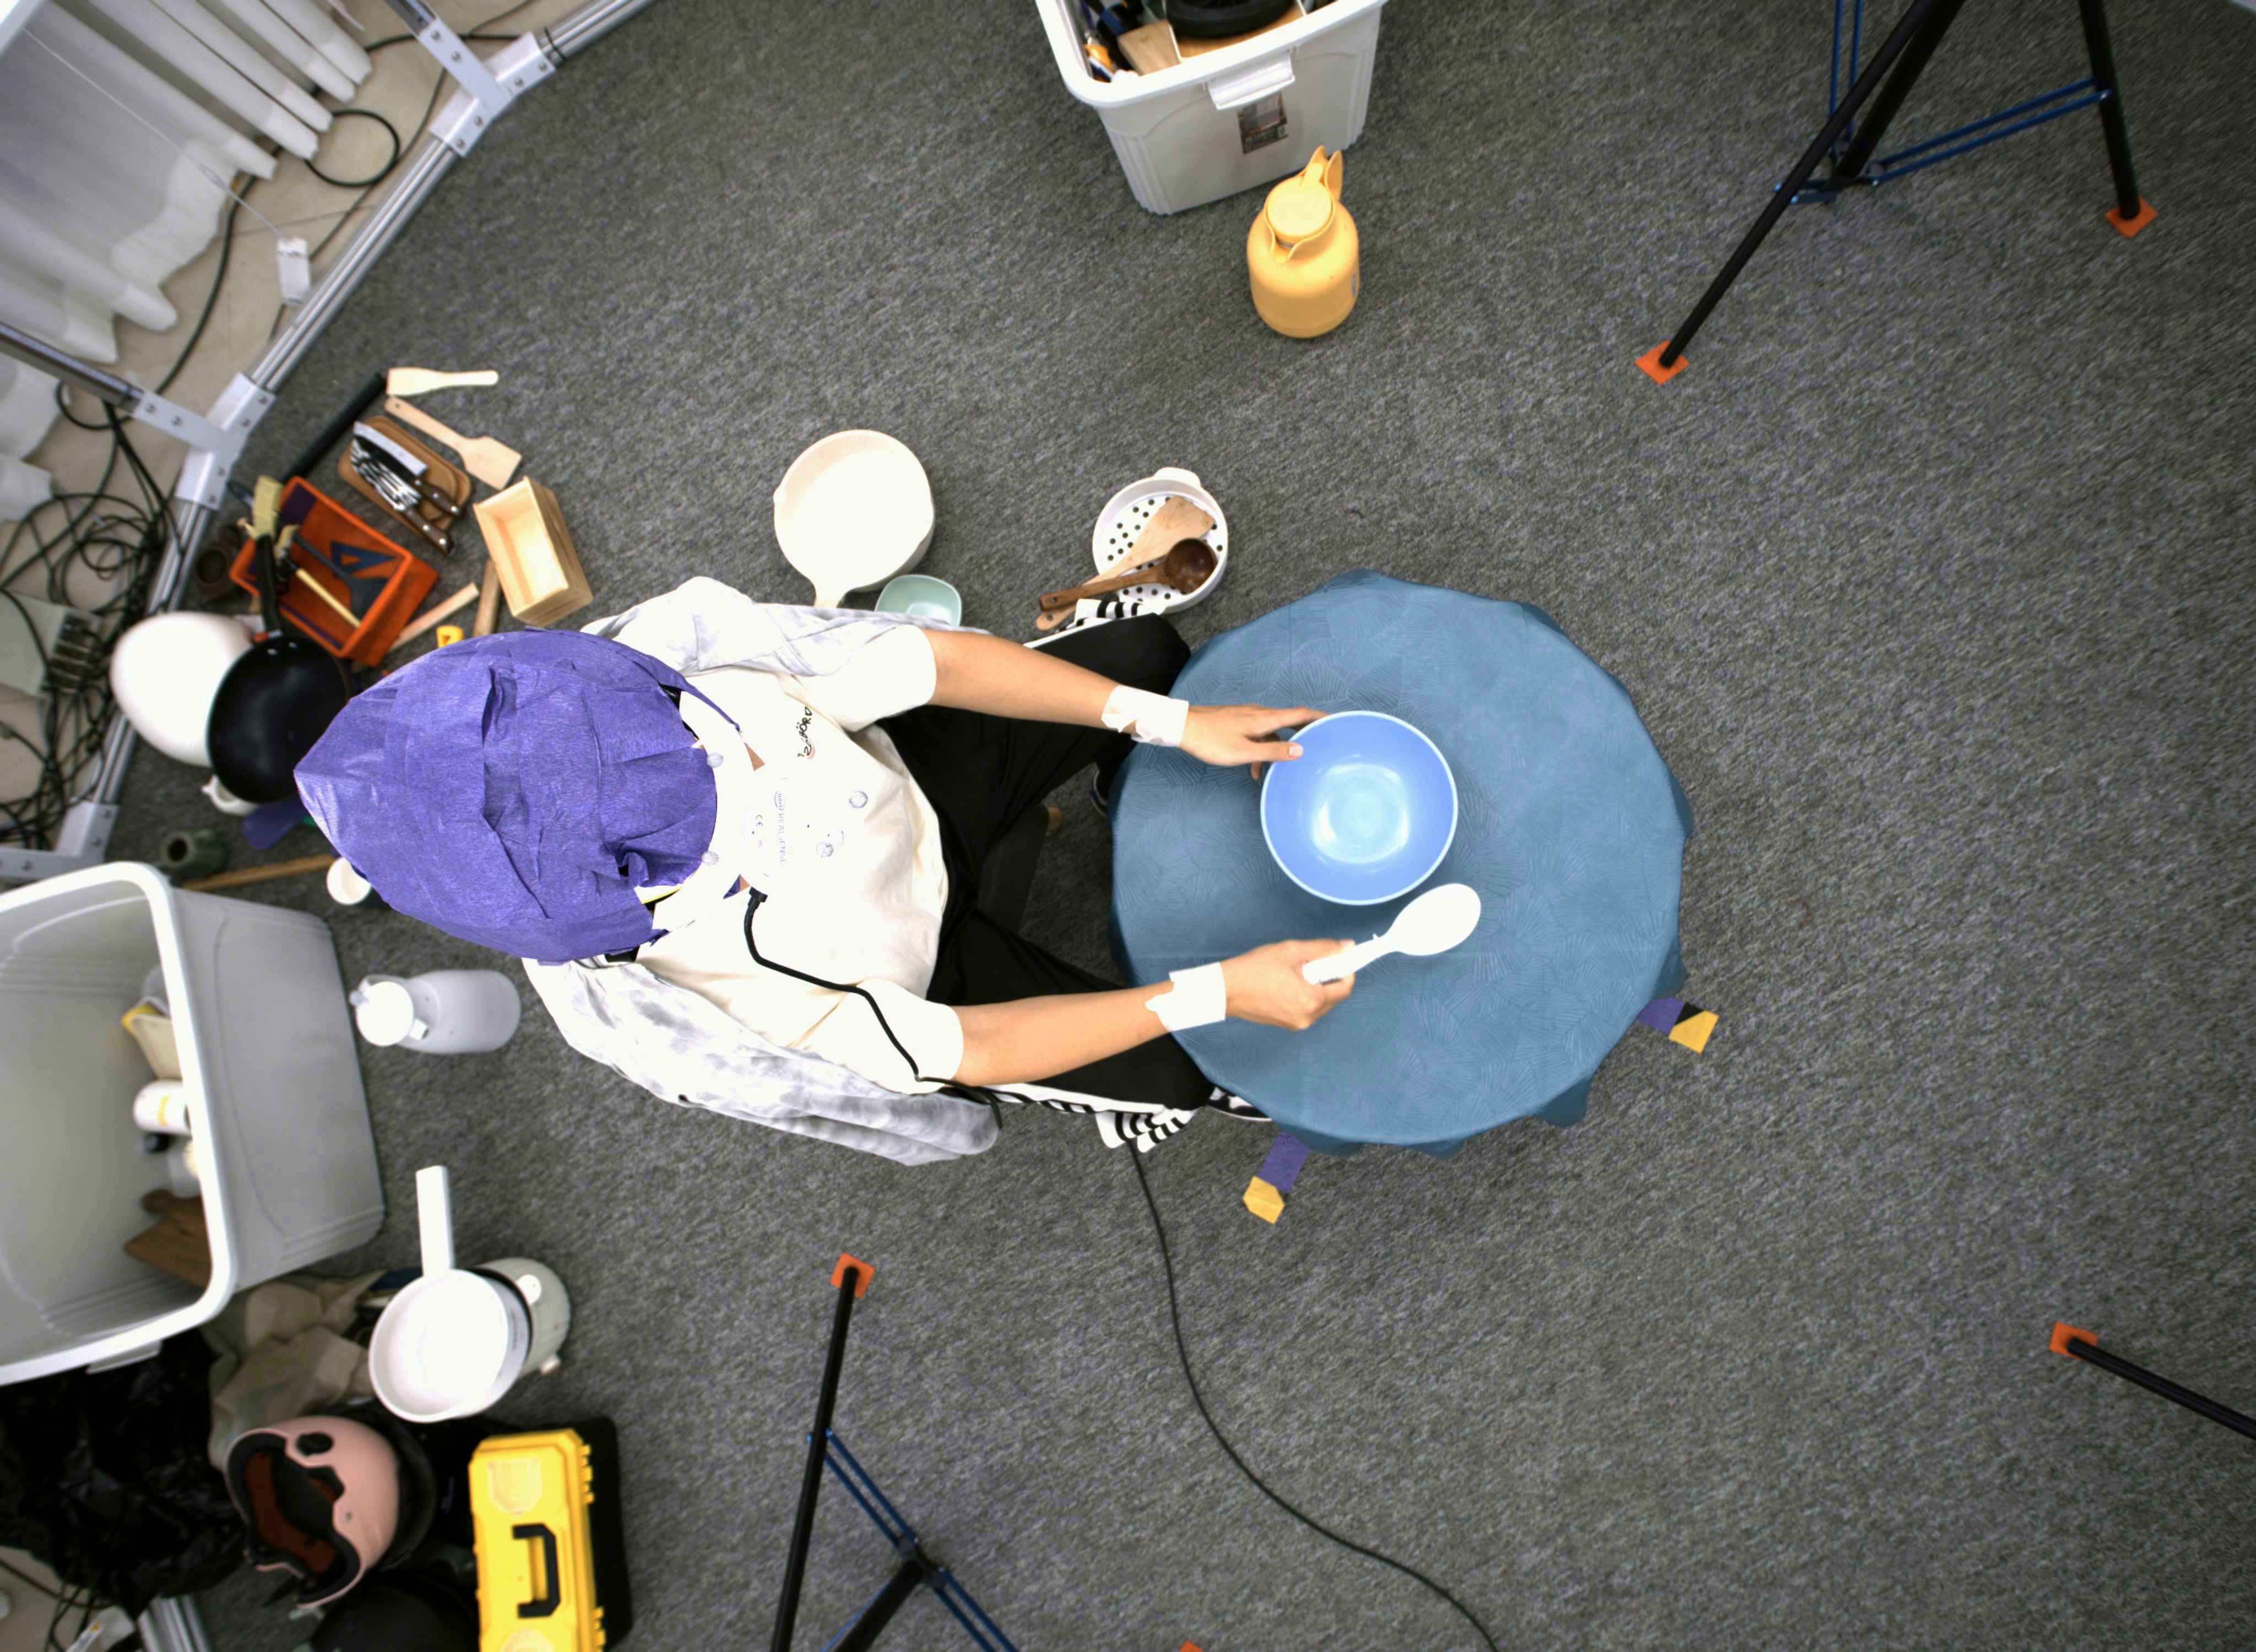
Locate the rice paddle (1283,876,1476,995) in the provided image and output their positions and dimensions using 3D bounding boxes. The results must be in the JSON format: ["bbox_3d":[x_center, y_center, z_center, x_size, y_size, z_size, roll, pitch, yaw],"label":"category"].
[{"bbox_3d":[0.250,0.106,1.350,0.205,0.029,0.070,-25,119,0],"label":"rice paddle"}]

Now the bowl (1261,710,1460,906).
[{"bbox_3d":[0.237,-0.015,1.419,0.197,0.095,0.196,-1,87,8],"label":"bowl"}]
